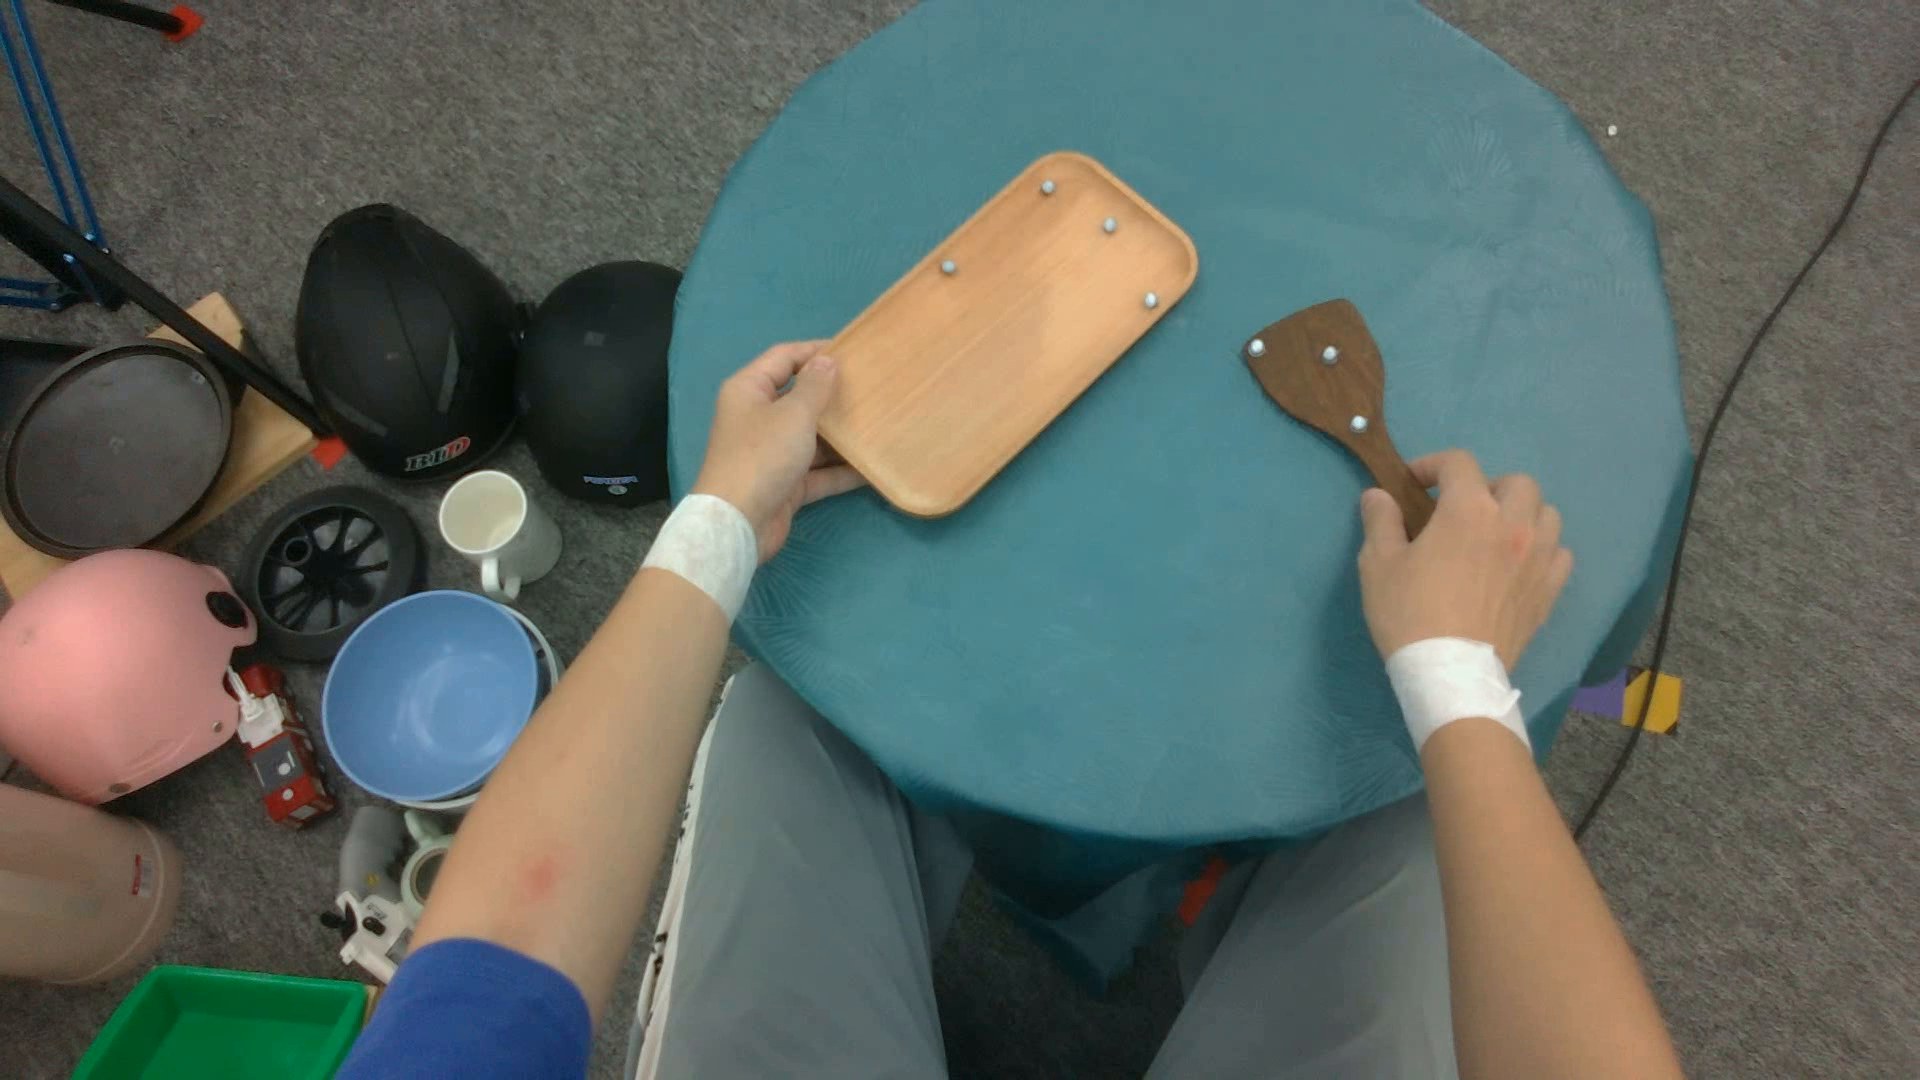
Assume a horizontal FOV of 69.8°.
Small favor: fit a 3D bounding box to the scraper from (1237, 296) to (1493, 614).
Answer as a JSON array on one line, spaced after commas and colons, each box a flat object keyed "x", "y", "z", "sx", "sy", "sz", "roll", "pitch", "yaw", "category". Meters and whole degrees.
[{"x": 0.238, "y": -0.049, "z": 0.790, "sx": 0.076, "sy": 0.011, "sz": 0.212, "roll": -25, "pitch": 65, "yaw": -2, "category": "scraper"}]

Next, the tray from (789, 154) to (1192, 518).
[{"x": 0.021, "y": -0.126, "z": 0.828, "sx": 0.130, "sy": 0.023, "sz": 0.251, "roll": 42, "pitch": 75, "yaw": 16, "category": "tray"}]
